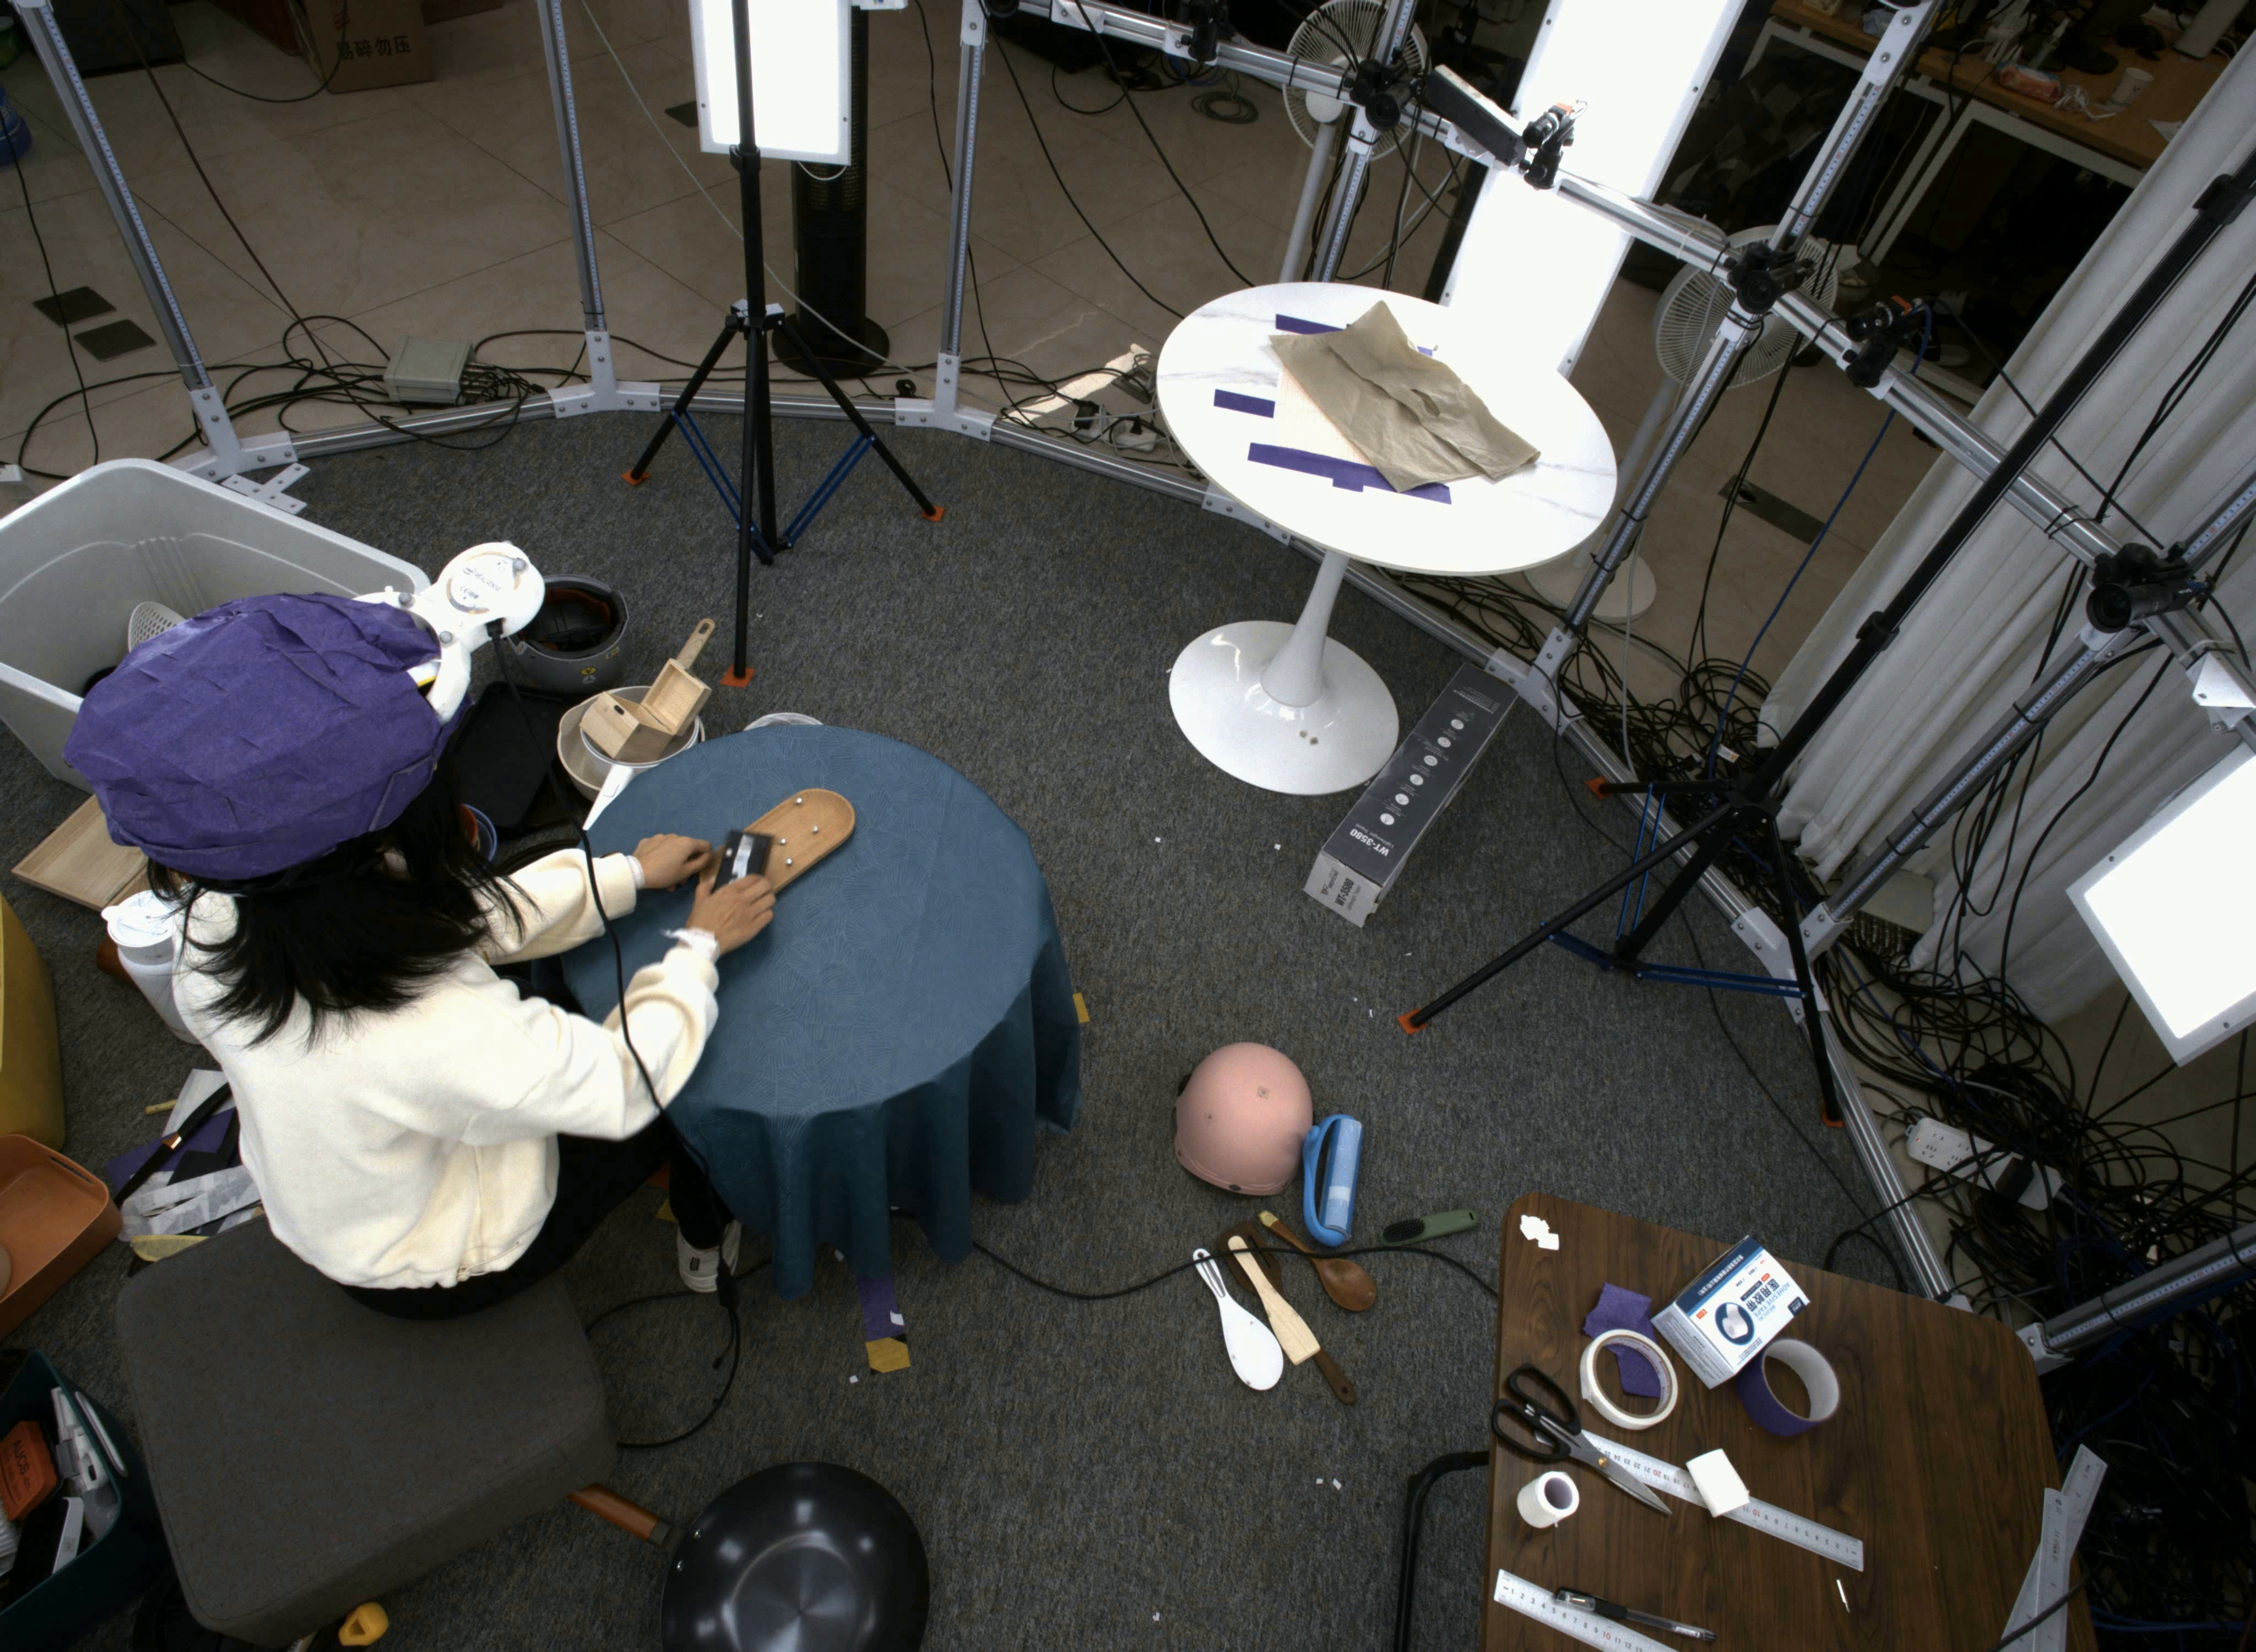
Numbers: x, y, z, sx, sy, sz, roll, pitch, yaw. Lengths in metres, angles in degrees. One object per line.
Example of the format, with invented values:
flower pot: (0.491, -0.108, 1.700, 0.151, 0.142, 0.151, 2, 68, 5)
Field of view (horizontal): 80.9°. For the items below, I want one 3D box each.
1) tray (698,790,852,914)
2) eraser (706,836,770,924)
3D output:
tray: (-0.455, 0.032, 1.676, 0.099, 0.021, 0.231, 35, 55, 15)
eraser: (-0.486, 0.065, 1.617, 0.053, 0.031, 0.123, 3, 47, -3)
